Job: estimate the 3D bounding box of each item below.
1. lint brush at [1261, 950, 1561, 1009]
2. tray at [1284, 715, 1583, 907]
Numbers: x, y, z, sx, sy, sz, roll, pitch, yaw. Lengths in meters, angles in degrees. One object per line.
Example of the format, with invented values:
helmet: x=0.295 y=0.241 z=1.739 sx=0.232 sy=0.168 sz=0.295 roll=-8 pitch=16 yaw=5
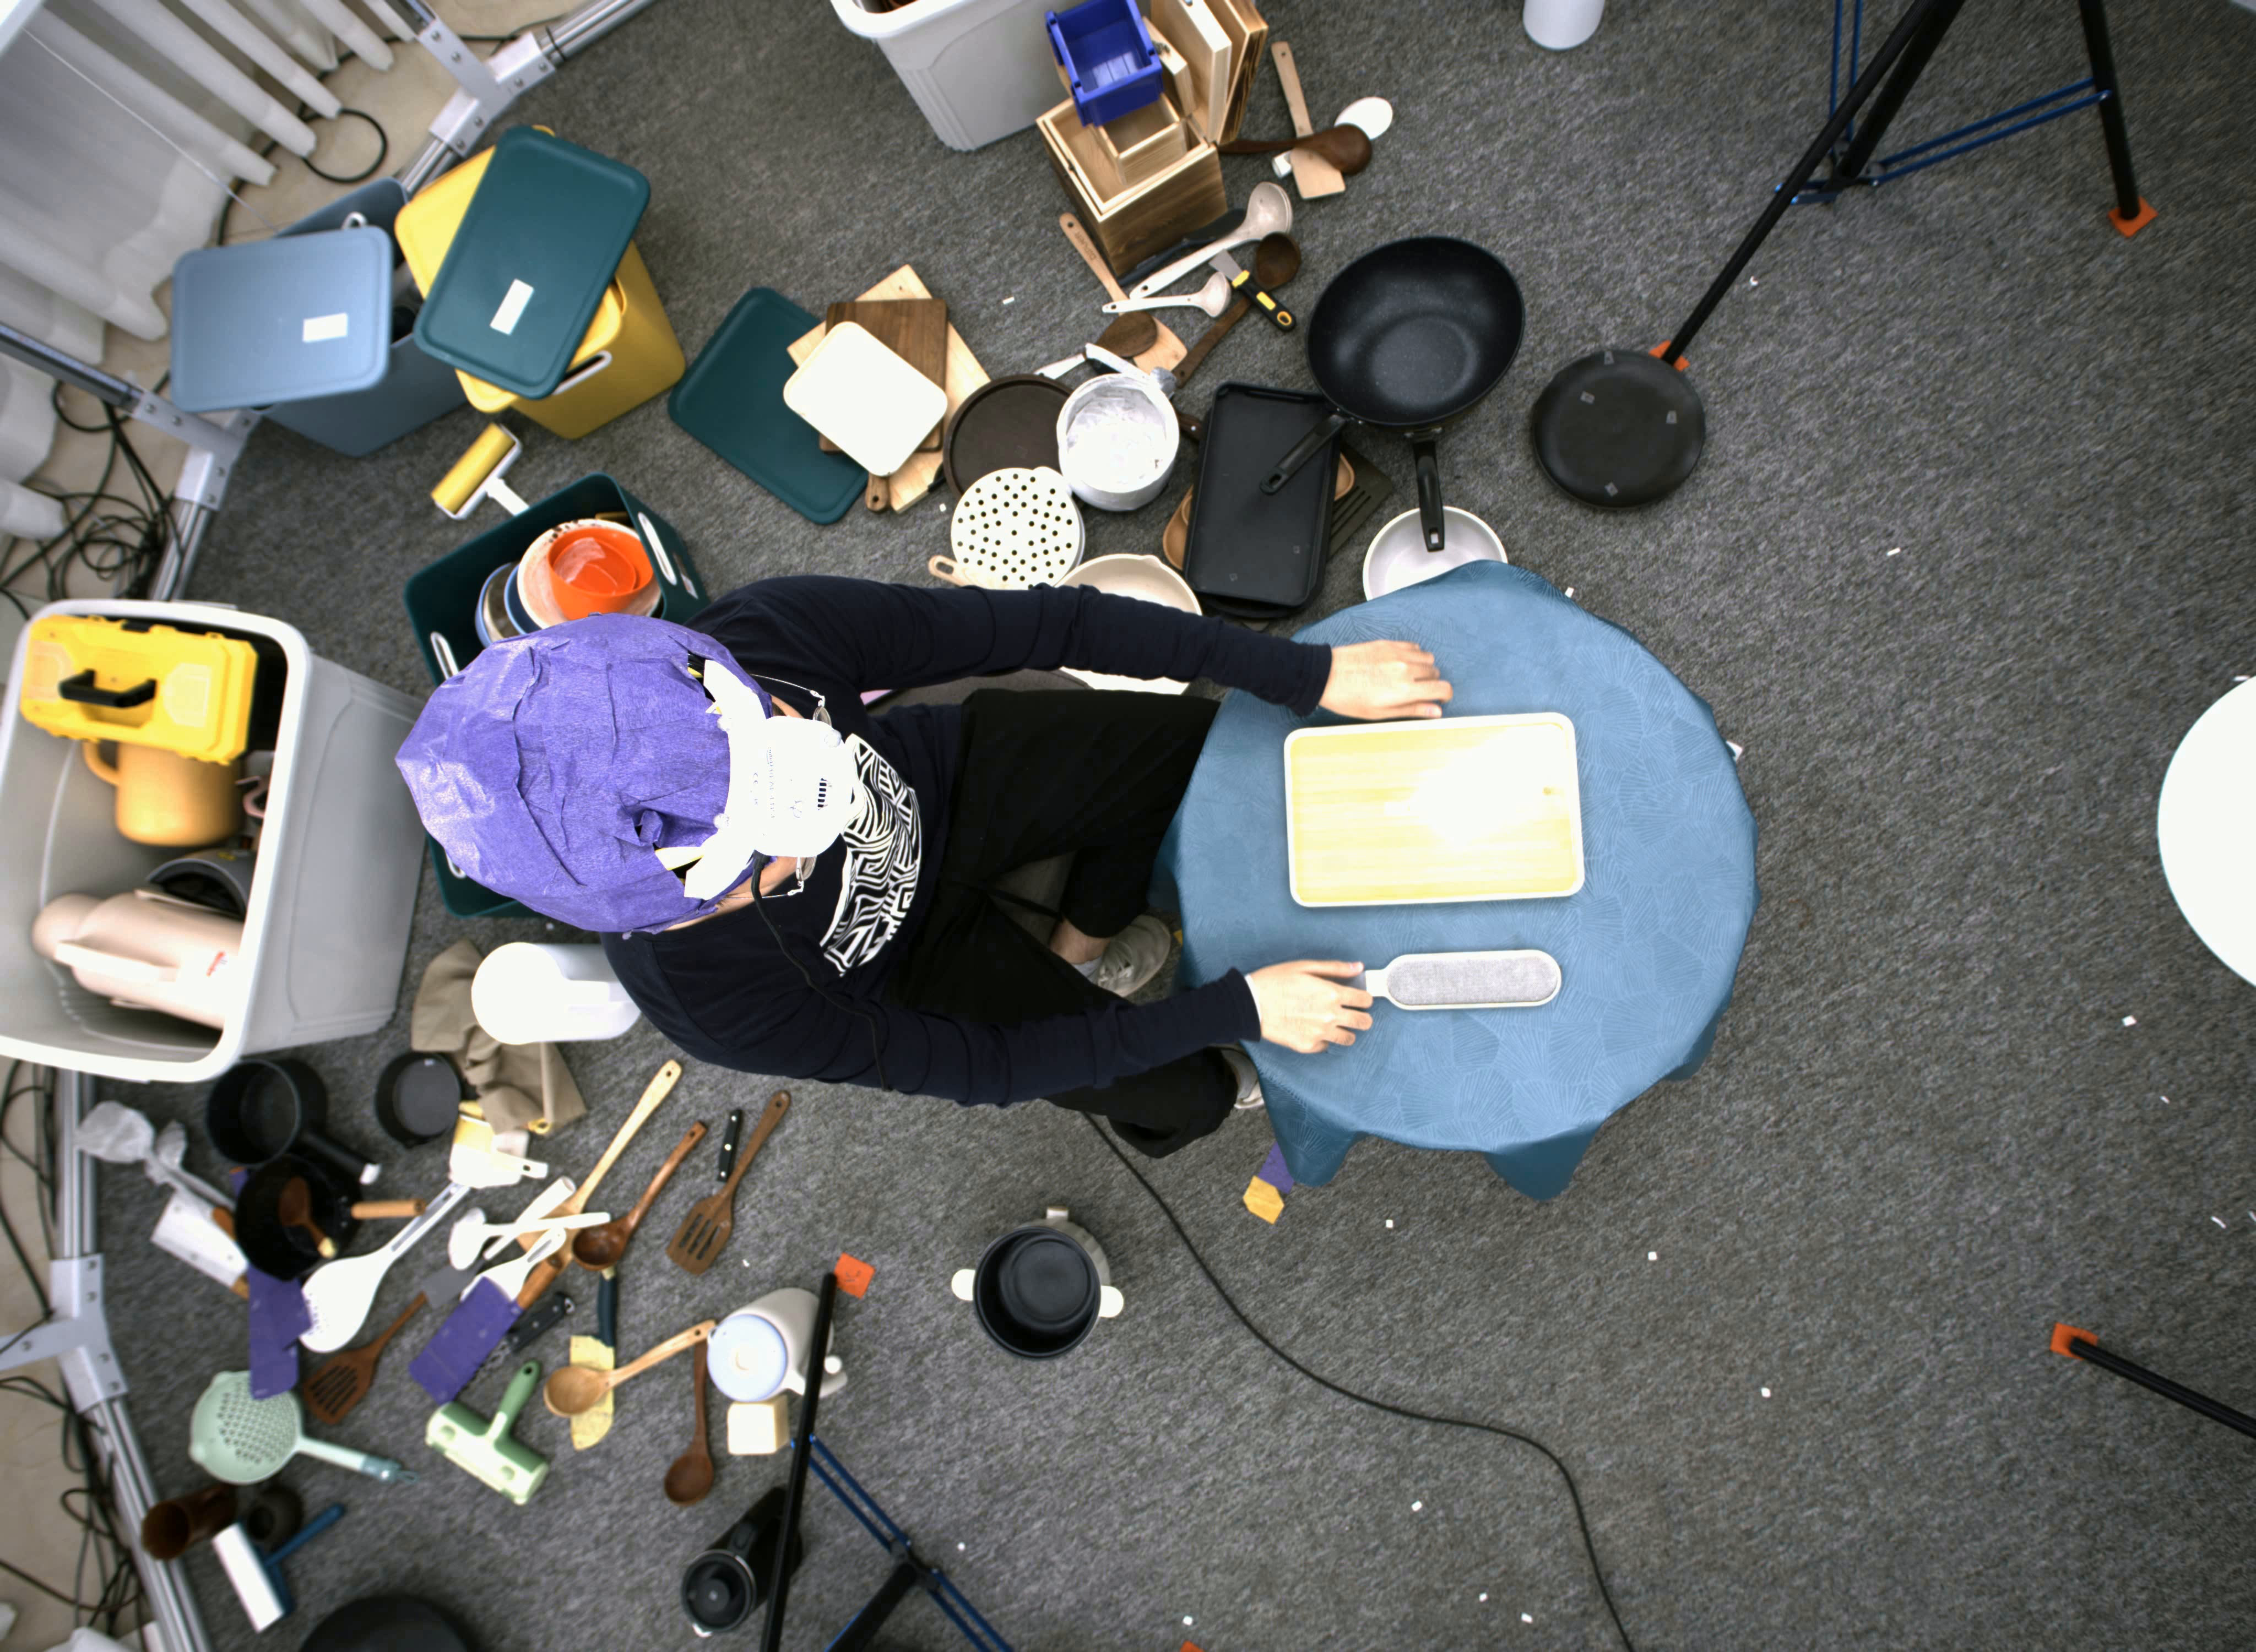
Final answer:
lint brush: x=0.292 y=0.159 z=1.437 sx=0.310 sy=0.021 sz=0.060 roll=-3 pitch=92 yaw=11
tray: x=0.317 y=-0.016 z=1.443 sx=0.301 sy=0.027 sz=0.190 roll=-2 pitch=86 yaw=11
